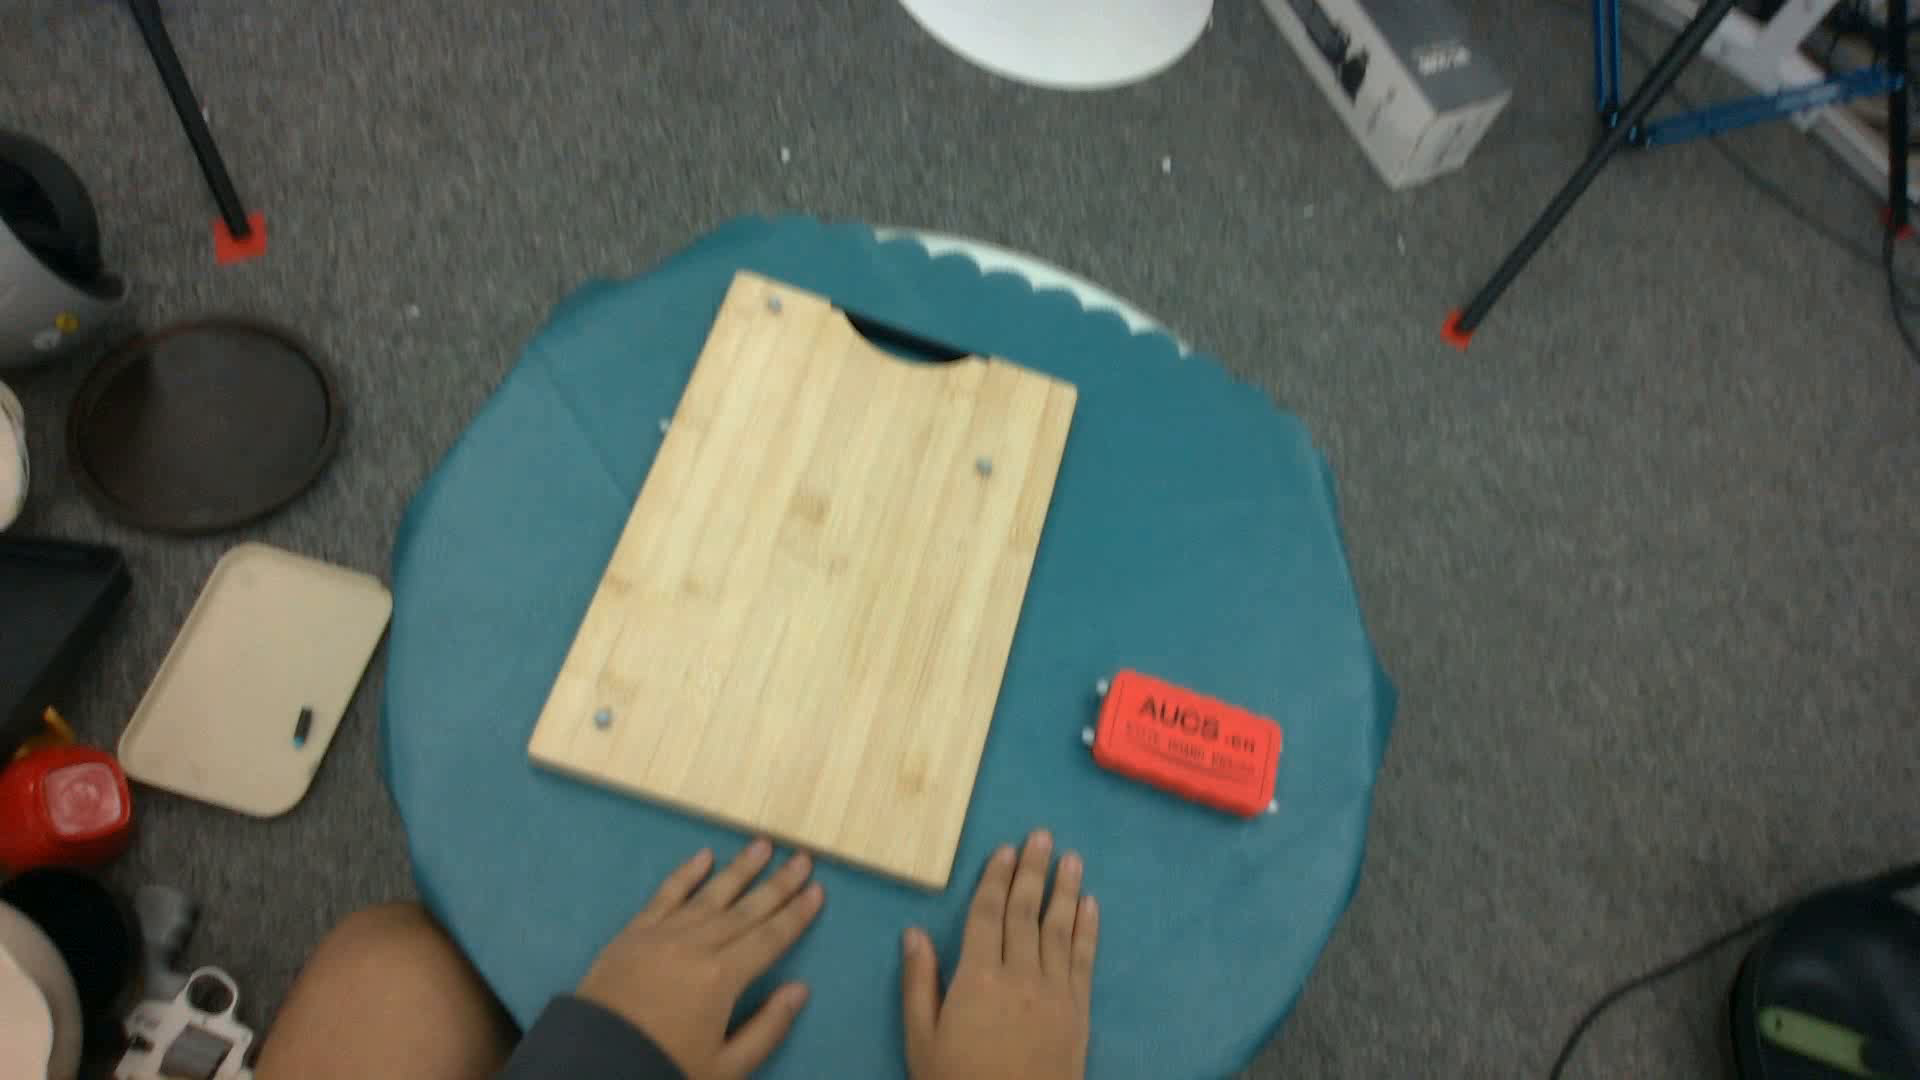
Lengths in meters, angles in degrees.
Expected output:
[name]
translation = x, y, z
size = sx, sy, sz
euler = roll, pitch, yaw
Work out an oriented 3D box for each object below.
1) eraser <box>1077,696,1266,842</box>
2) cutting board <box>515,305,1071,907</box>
[eraser]
translation = 0.127, 0.137, 0.828
size = 0.108, 0.023, 0.059
euler = 20, 58, -1
[cutting board]
translation = -0.085, 0.024, 0.846
size = 0.251, 0.023, 0.350
euler = 18, 59, -3
